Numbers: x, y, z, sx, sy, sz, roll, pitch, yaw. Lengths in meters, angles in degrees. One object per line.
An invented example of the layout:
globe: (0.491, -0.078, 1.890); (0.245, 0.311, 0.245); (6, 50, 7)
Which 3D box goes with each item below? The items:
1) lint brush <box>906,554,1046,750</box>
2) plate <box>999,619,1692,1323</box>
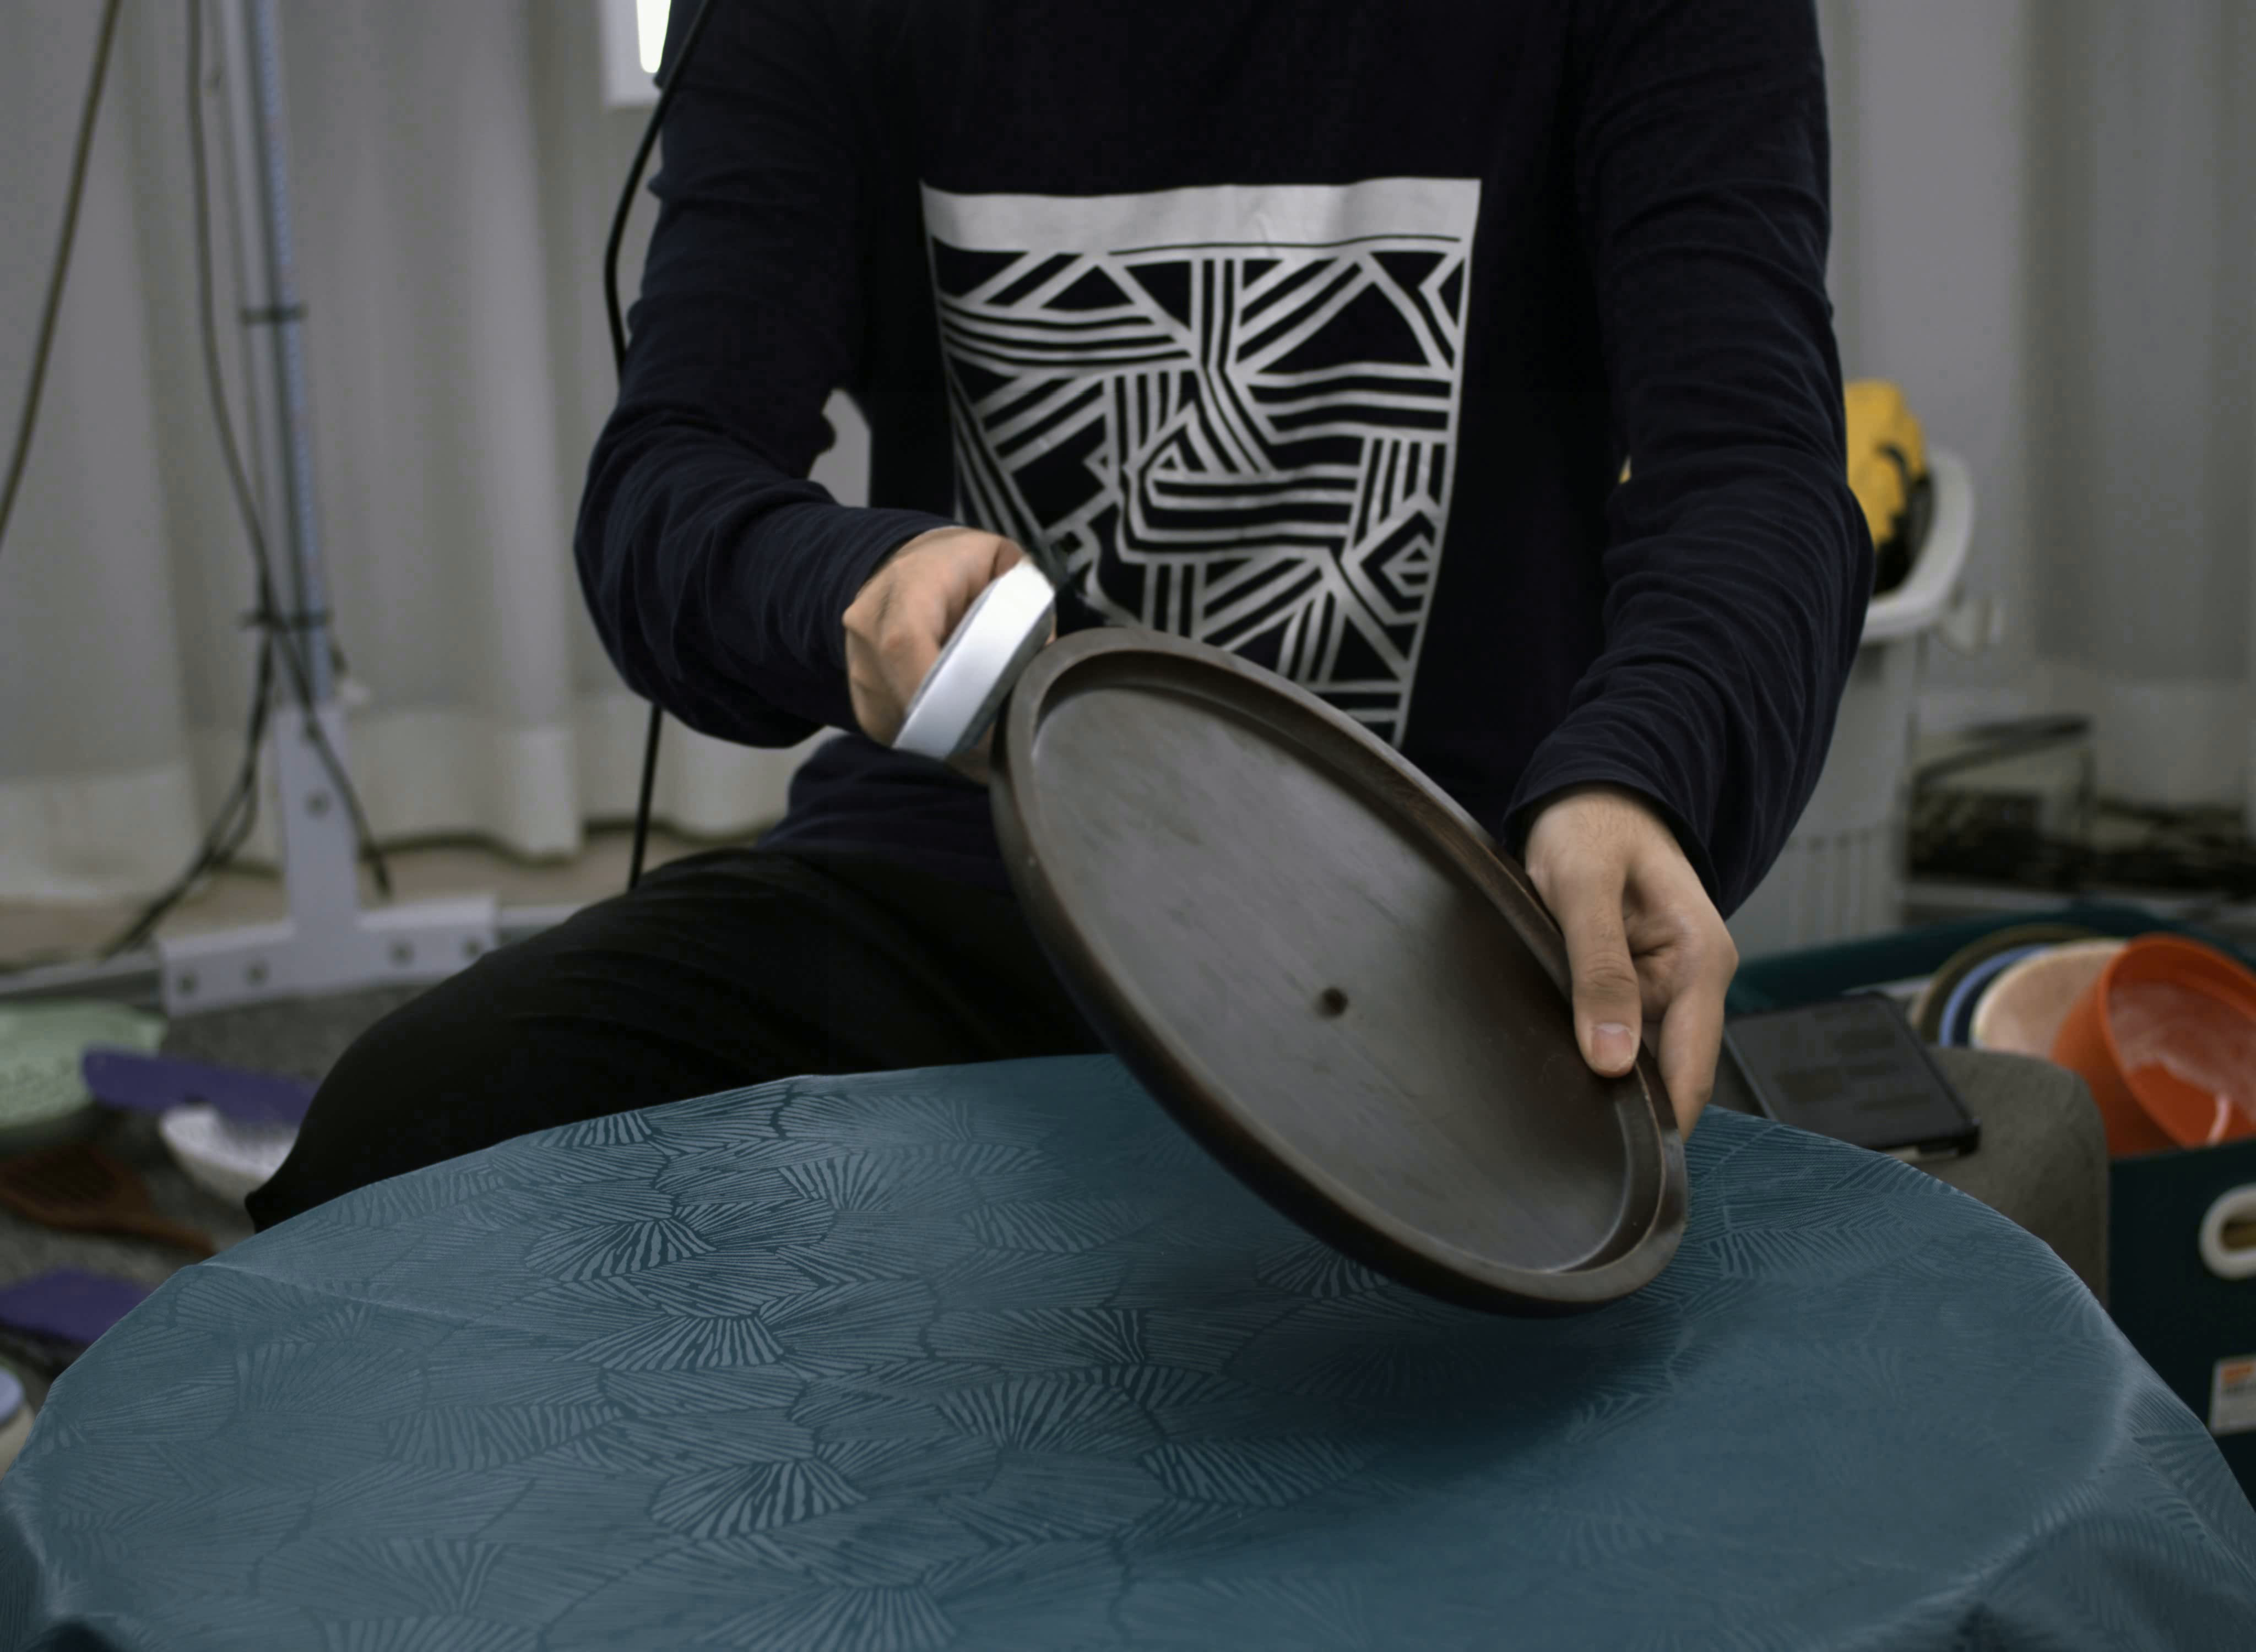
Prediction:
lint brush: (-0.043, -0.051, 1.645); (0.021, 0.060, 0.309); (29, 0, -1)
plate: (0.062, 0.041, 1.568); (0.029, 0.255, 0.255); (-45, -5, 26)
